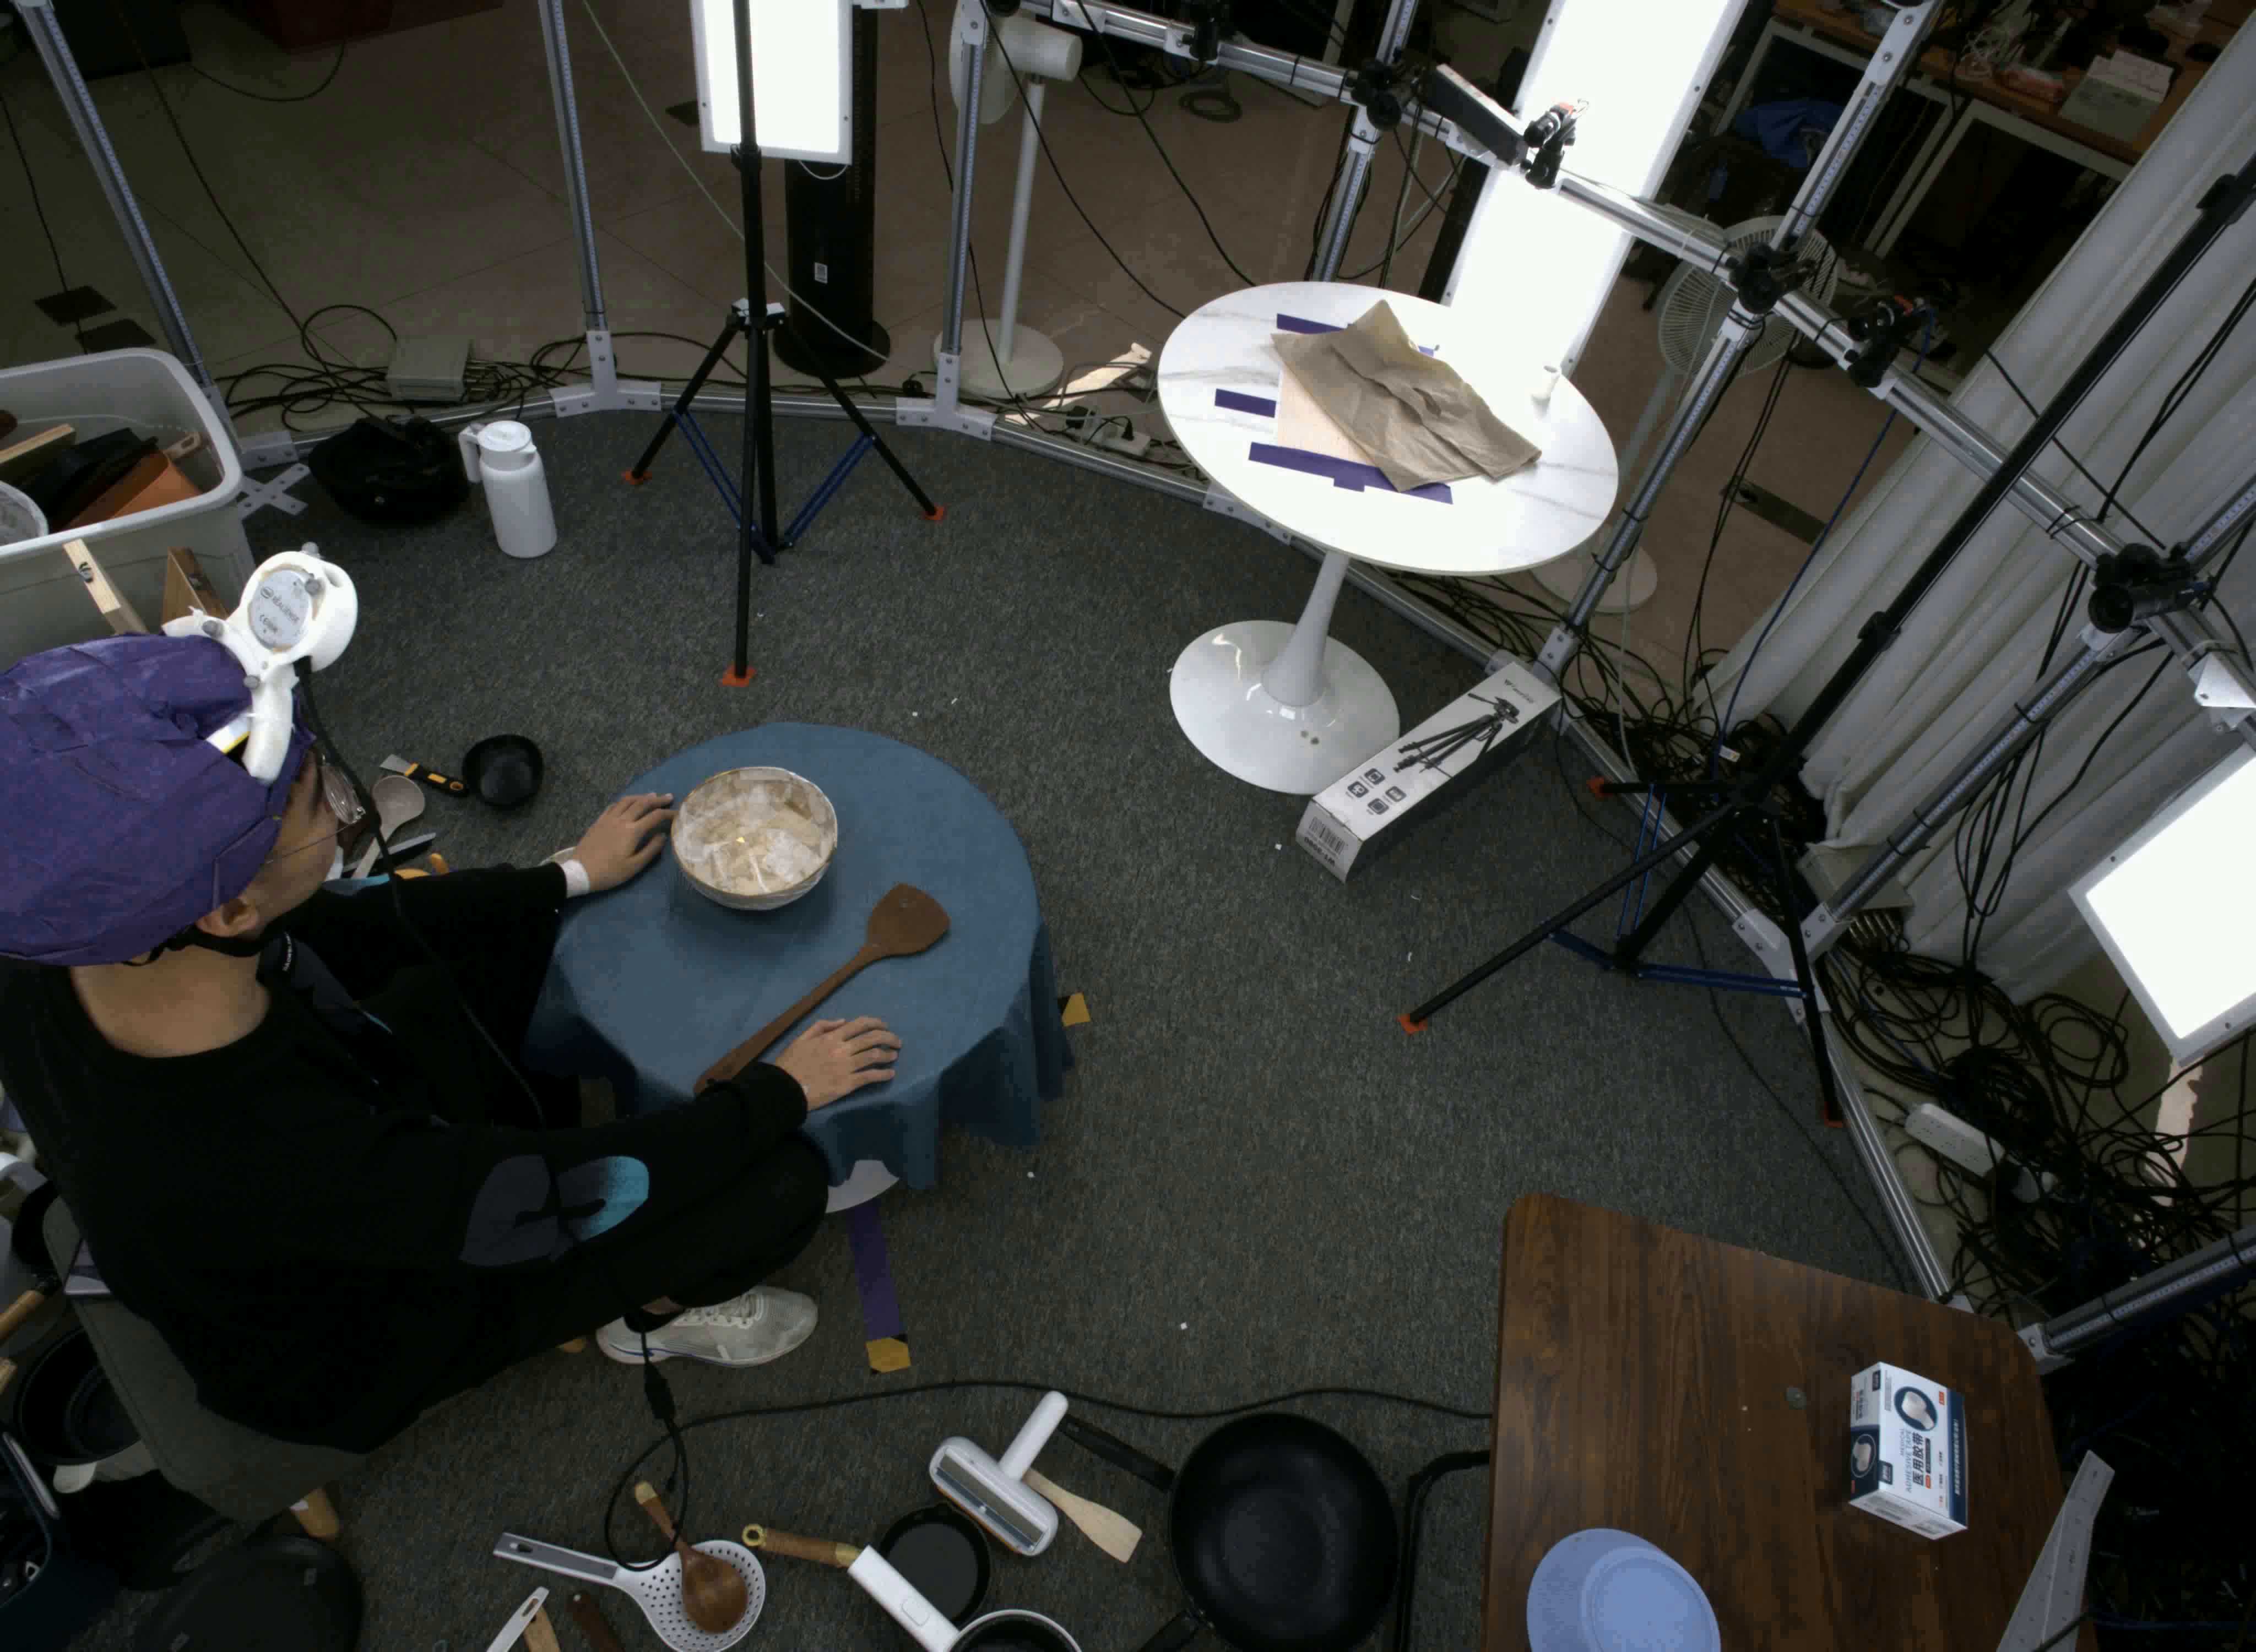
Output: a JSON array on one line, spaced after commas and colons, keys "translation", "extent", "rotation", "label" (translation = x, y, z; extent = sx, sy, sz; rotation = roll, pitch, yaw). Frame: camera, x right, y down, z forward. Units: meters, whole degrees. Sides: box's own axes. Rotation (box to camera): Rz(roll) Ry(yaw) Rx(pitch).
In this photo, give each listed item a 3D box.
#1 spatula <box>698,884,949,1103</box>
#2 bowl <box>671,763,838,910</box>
[{"translation": [-0.373, 0.202, 1.583], "extent": [0.094, 0.016, 0.386], "rotation": [37, 54, 15], "label": "spatula"}, {"translation": [-0.472, 0.028, 1.636], "extent": [0.214, 0.096, 0.211], "rotation": [8, 54, -9], "label": "bowl"}]
